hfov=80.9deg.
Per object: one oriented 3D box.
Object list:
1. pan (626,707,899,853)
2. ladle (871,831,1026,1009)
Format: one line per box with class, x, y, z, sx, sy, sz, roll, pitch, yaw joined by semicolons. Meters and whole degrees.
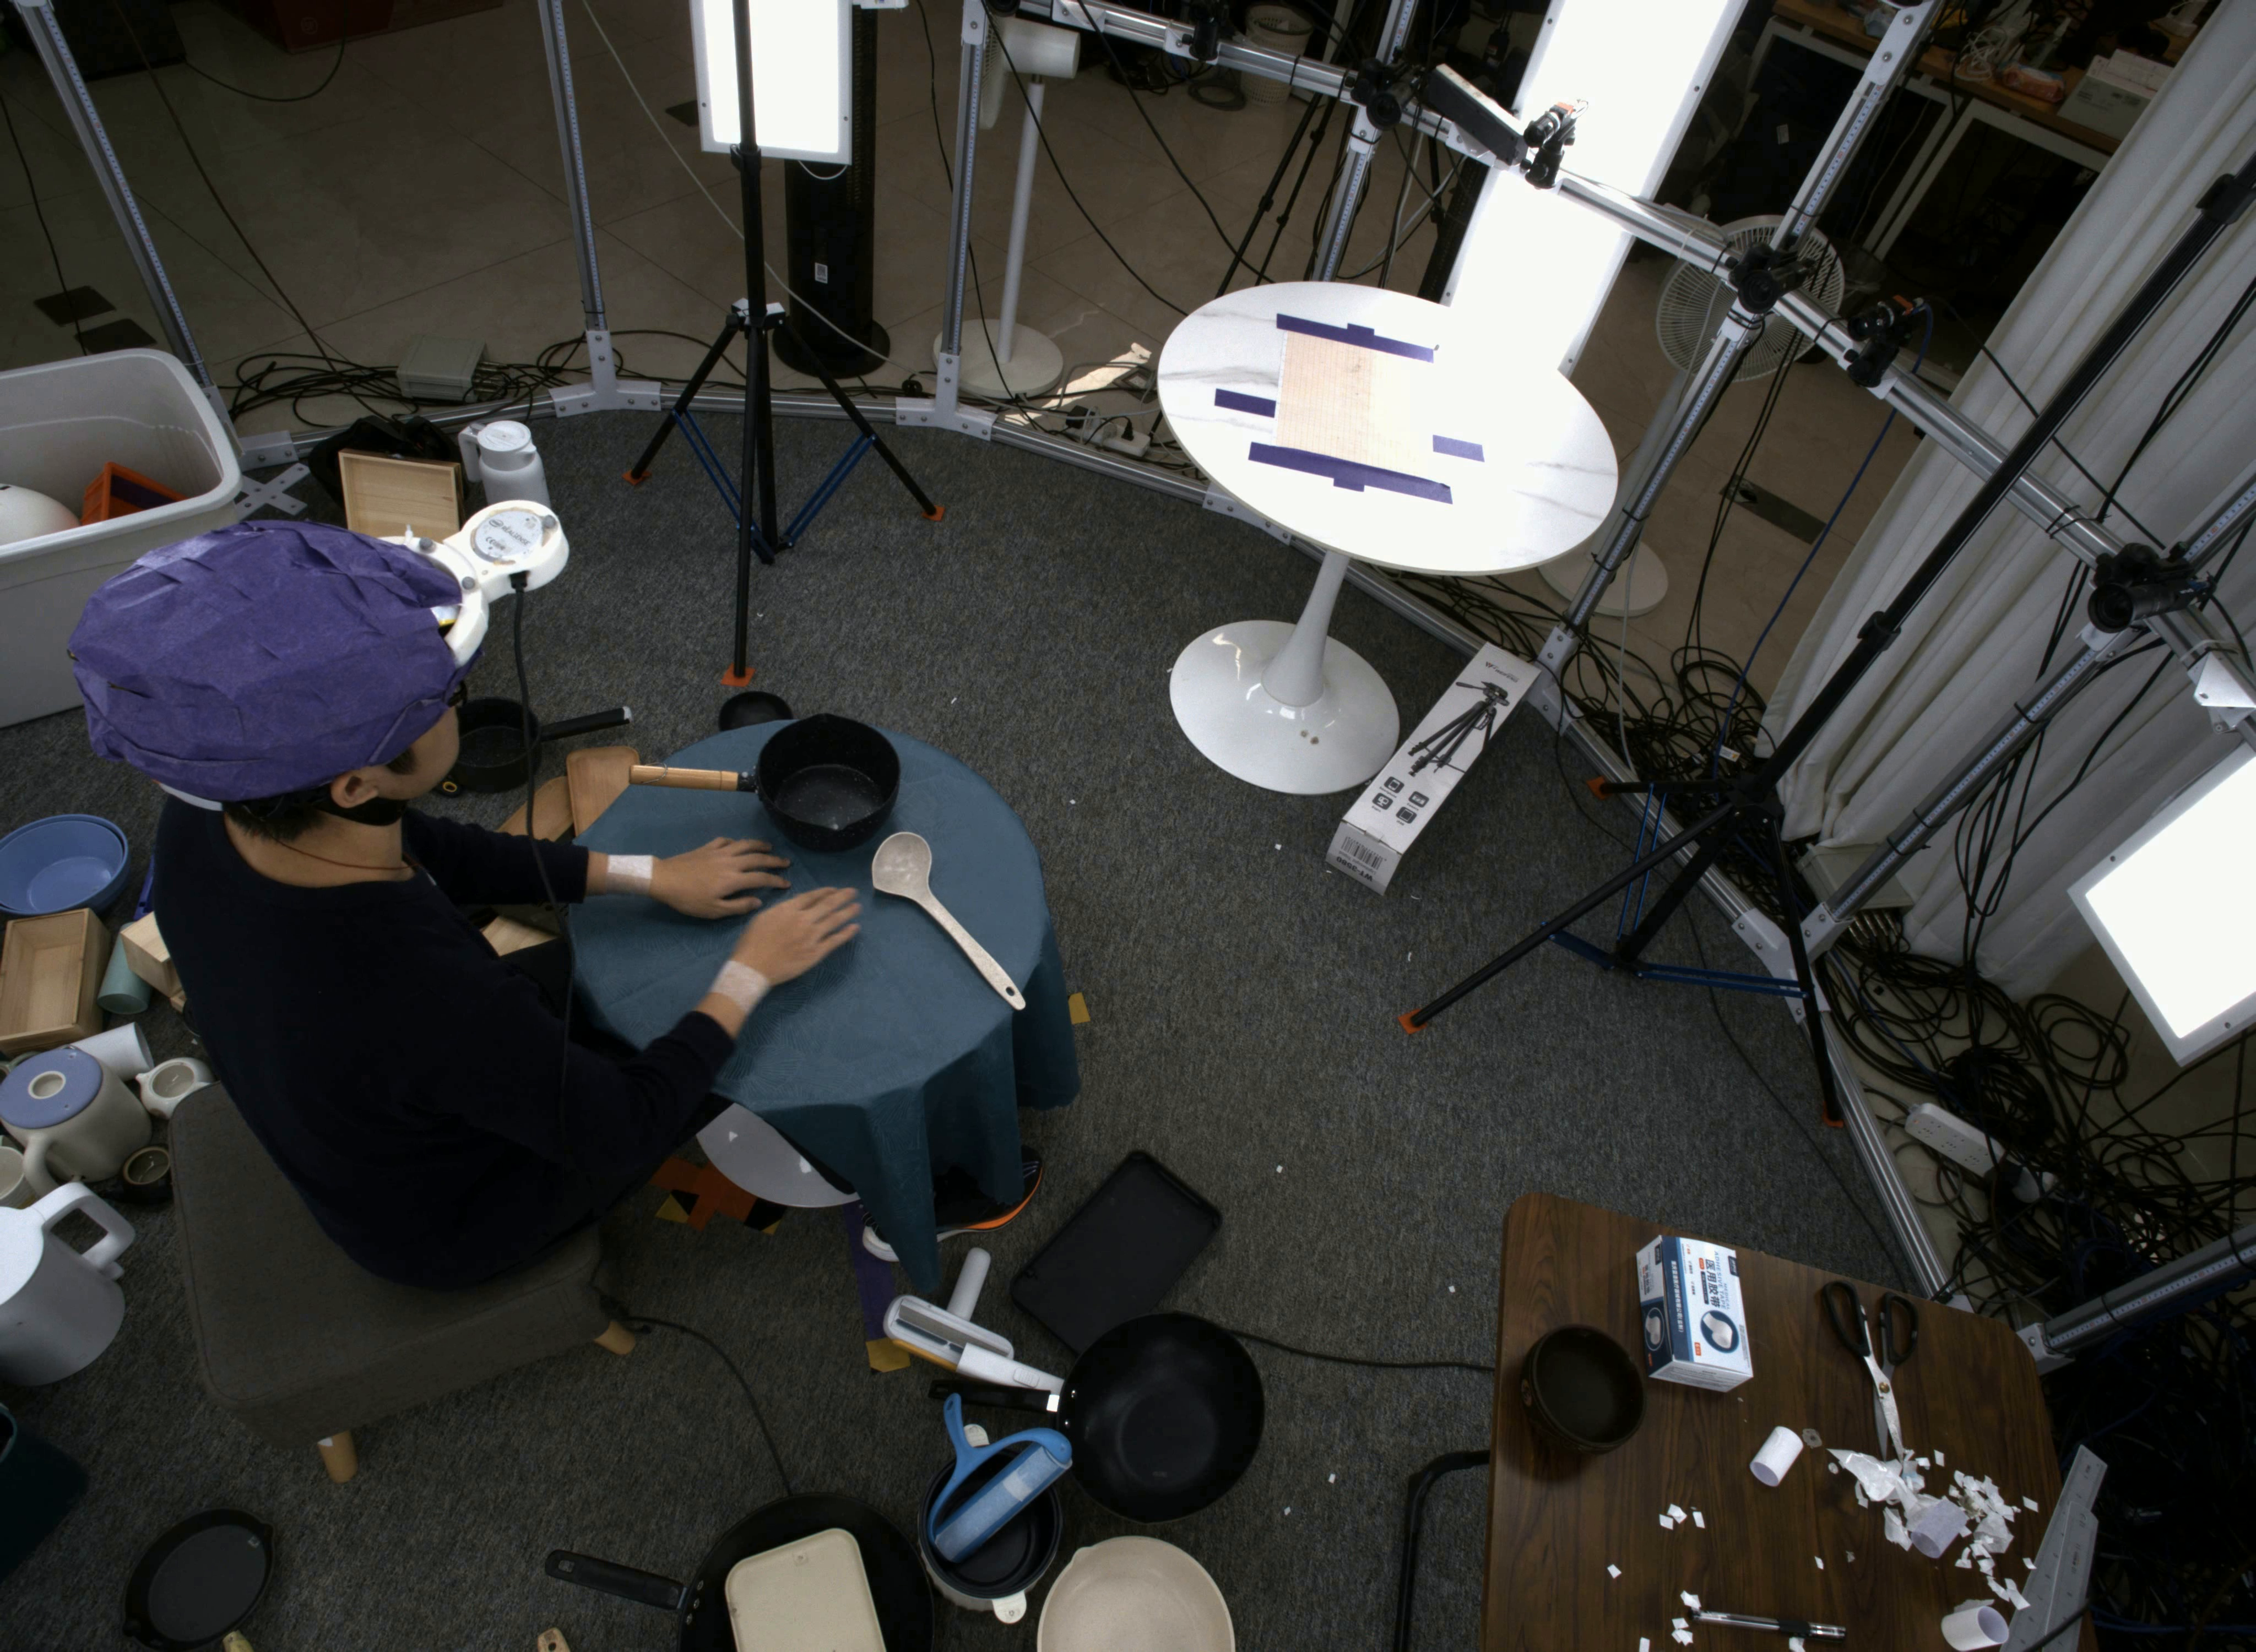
pan;-0.468;-0.051;1.670;0.344;0.110;0.203;-5;56;-20
ladle;-0.218;0.116;1.639;0.269;0.070;0.090;43;49;17
